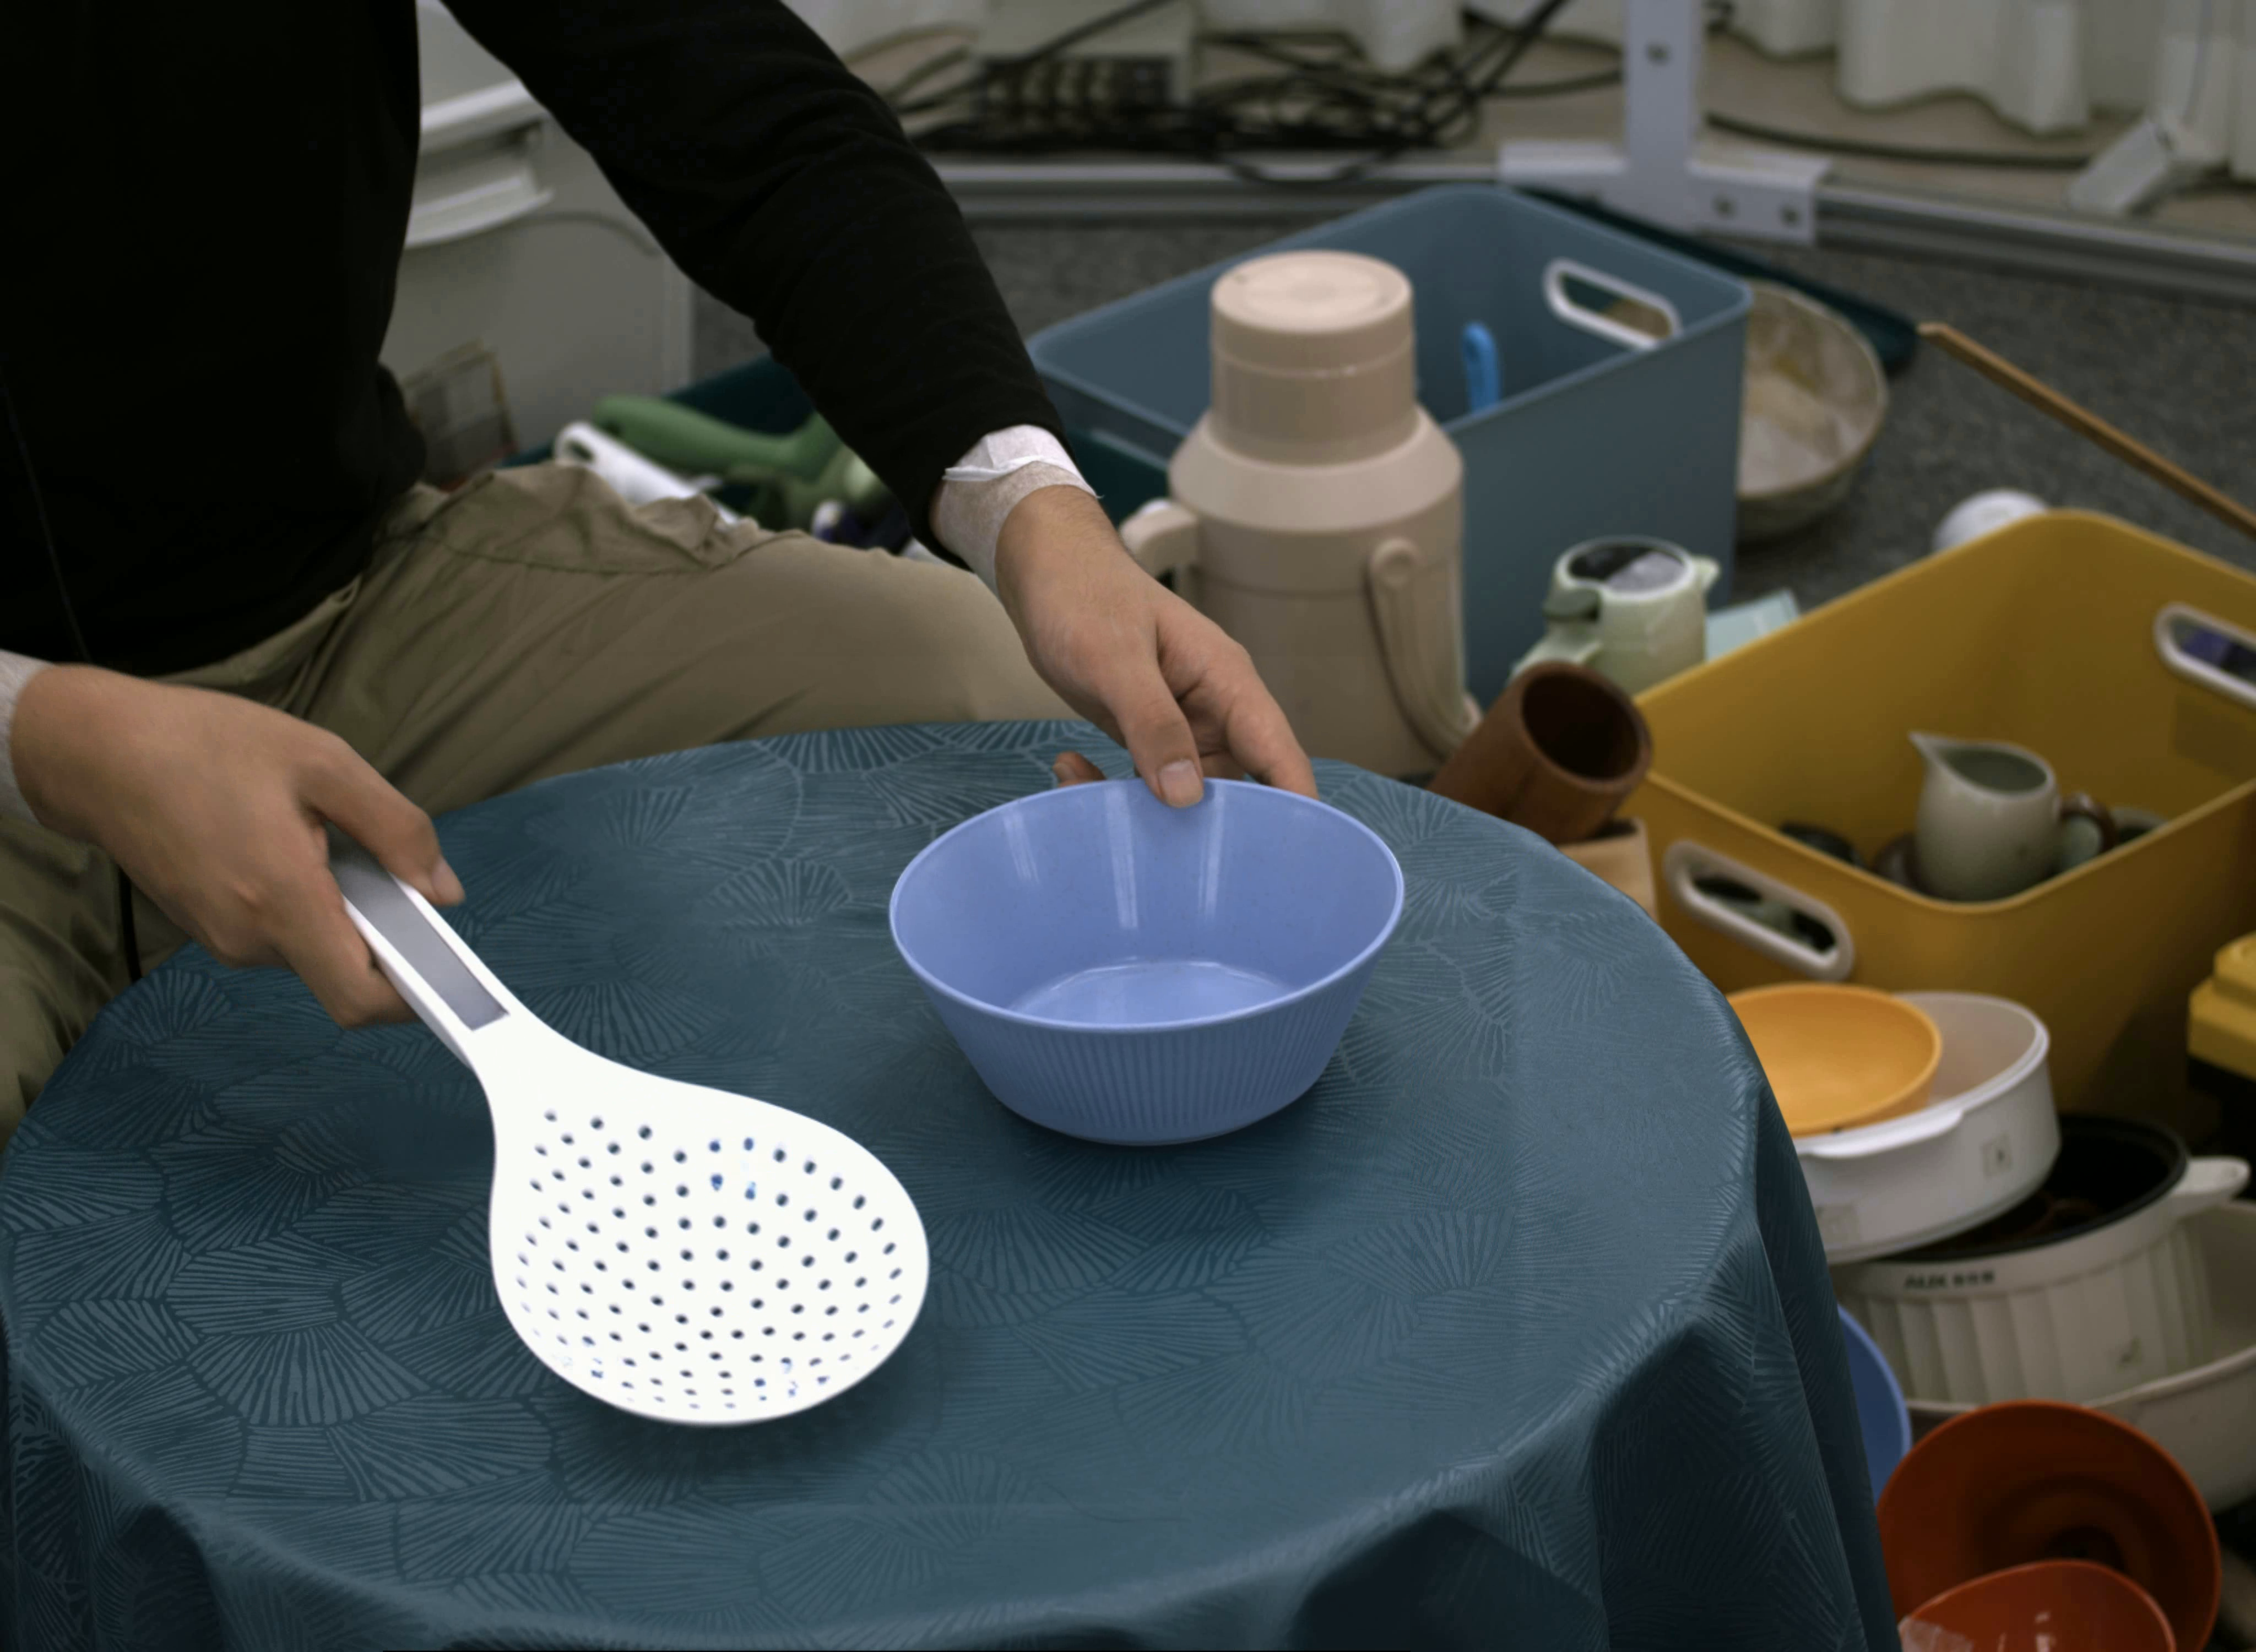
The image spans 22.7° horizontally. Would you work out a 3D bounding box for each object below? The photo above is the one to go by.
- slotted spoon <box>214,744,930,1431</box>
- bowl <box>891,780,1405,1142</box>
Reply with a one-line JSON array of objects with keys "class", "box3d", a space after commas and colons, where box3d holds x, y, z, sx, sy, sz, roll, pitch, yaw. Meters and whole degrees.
[{"class": "slotted spoon", "box3d": [-0.196, 0.080, 1.821, 0.137, 0.045, 0.352, -26, 55, -28]}, {"class": "bowl", "box3d": [0.008, 0.051, 1.920, 0.175, 0.069, 0.178, -2, 26, 1]}]
